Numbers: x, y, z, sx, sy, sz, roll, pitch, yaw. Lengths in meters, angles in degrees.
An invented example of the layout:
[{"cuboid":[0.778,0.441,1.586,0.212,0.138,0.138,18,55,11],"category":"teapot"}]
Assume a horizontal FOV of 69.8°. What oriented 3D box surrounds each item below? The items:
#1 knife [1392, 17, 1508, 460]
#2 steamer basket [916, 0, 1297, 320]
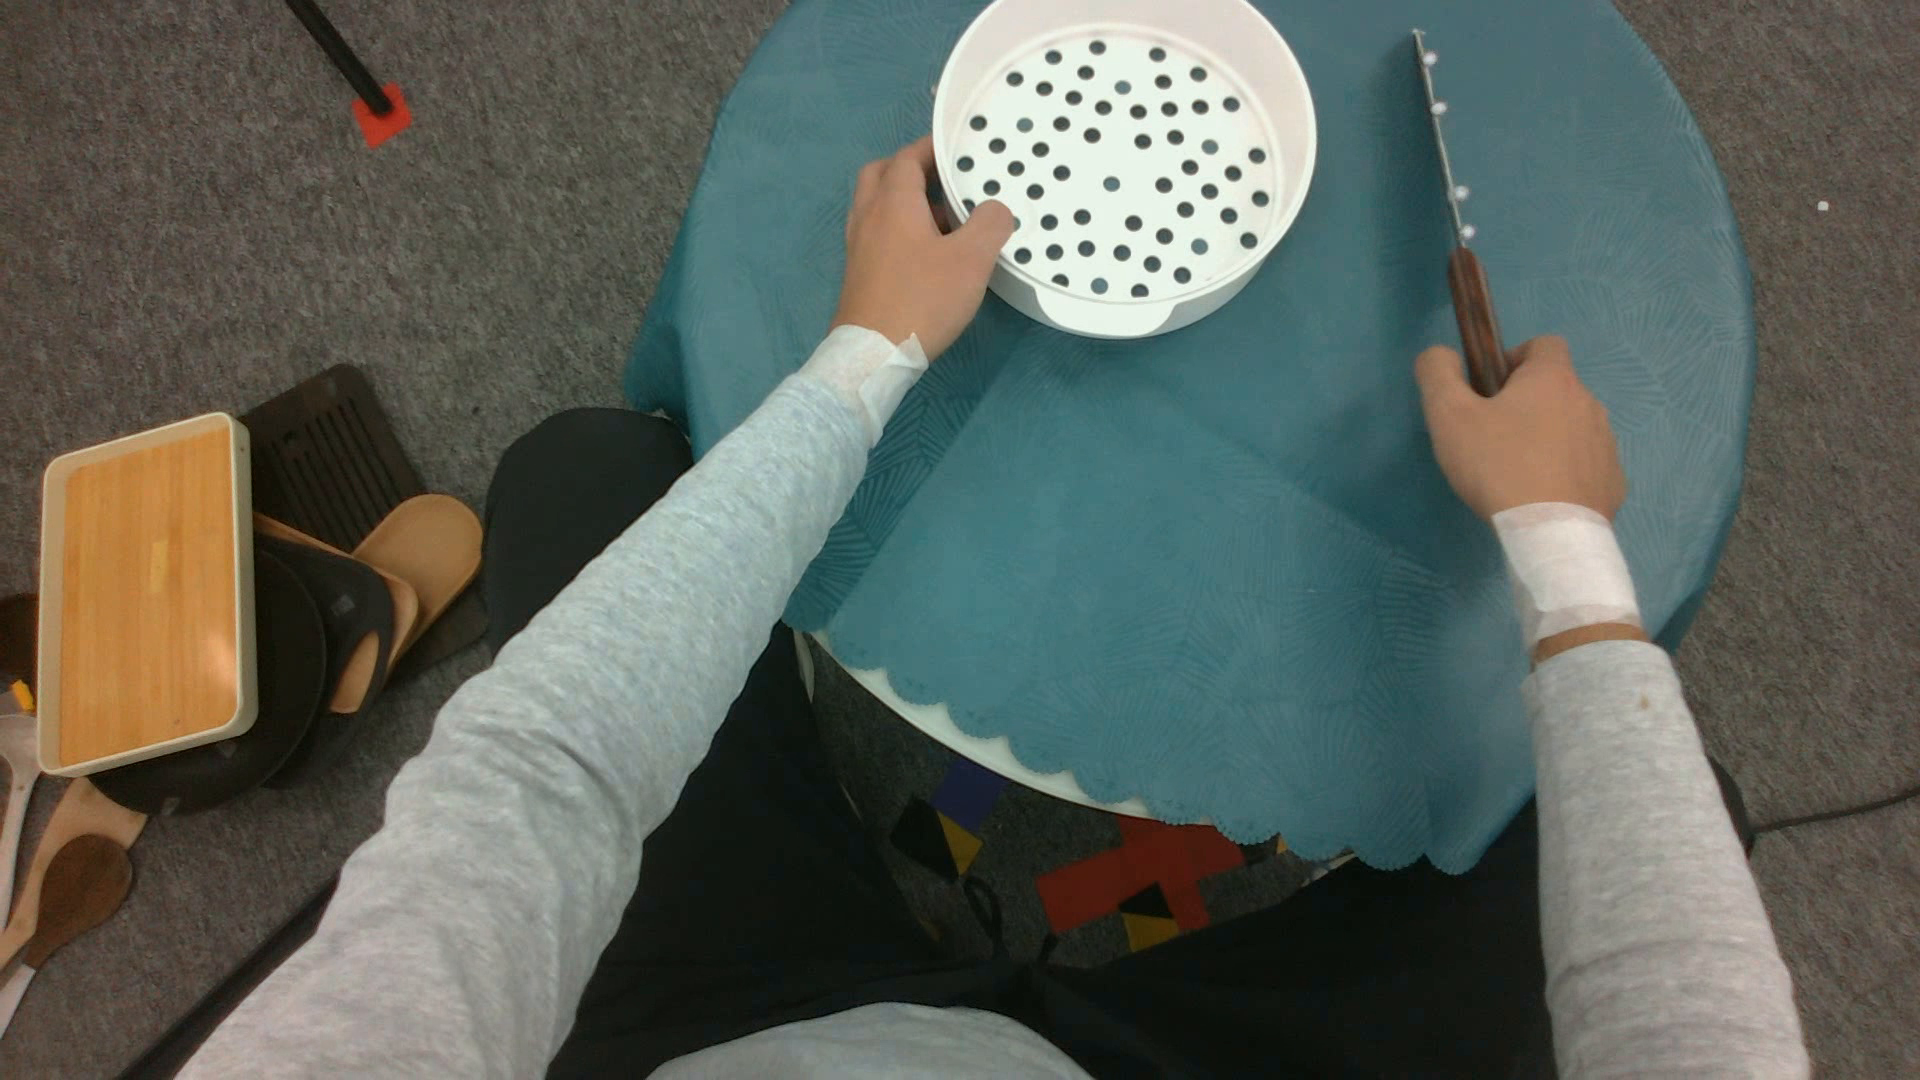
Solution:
[{"cuboid":[0.259,-0.172,0.747,0.020,0.050,0.290,-13,65,22],"category":"knife"},{"cuboid":[0.077,-0.220,0.754,0.202,0.069,0.231,7,77,1],"category":"steamer basket"}]
